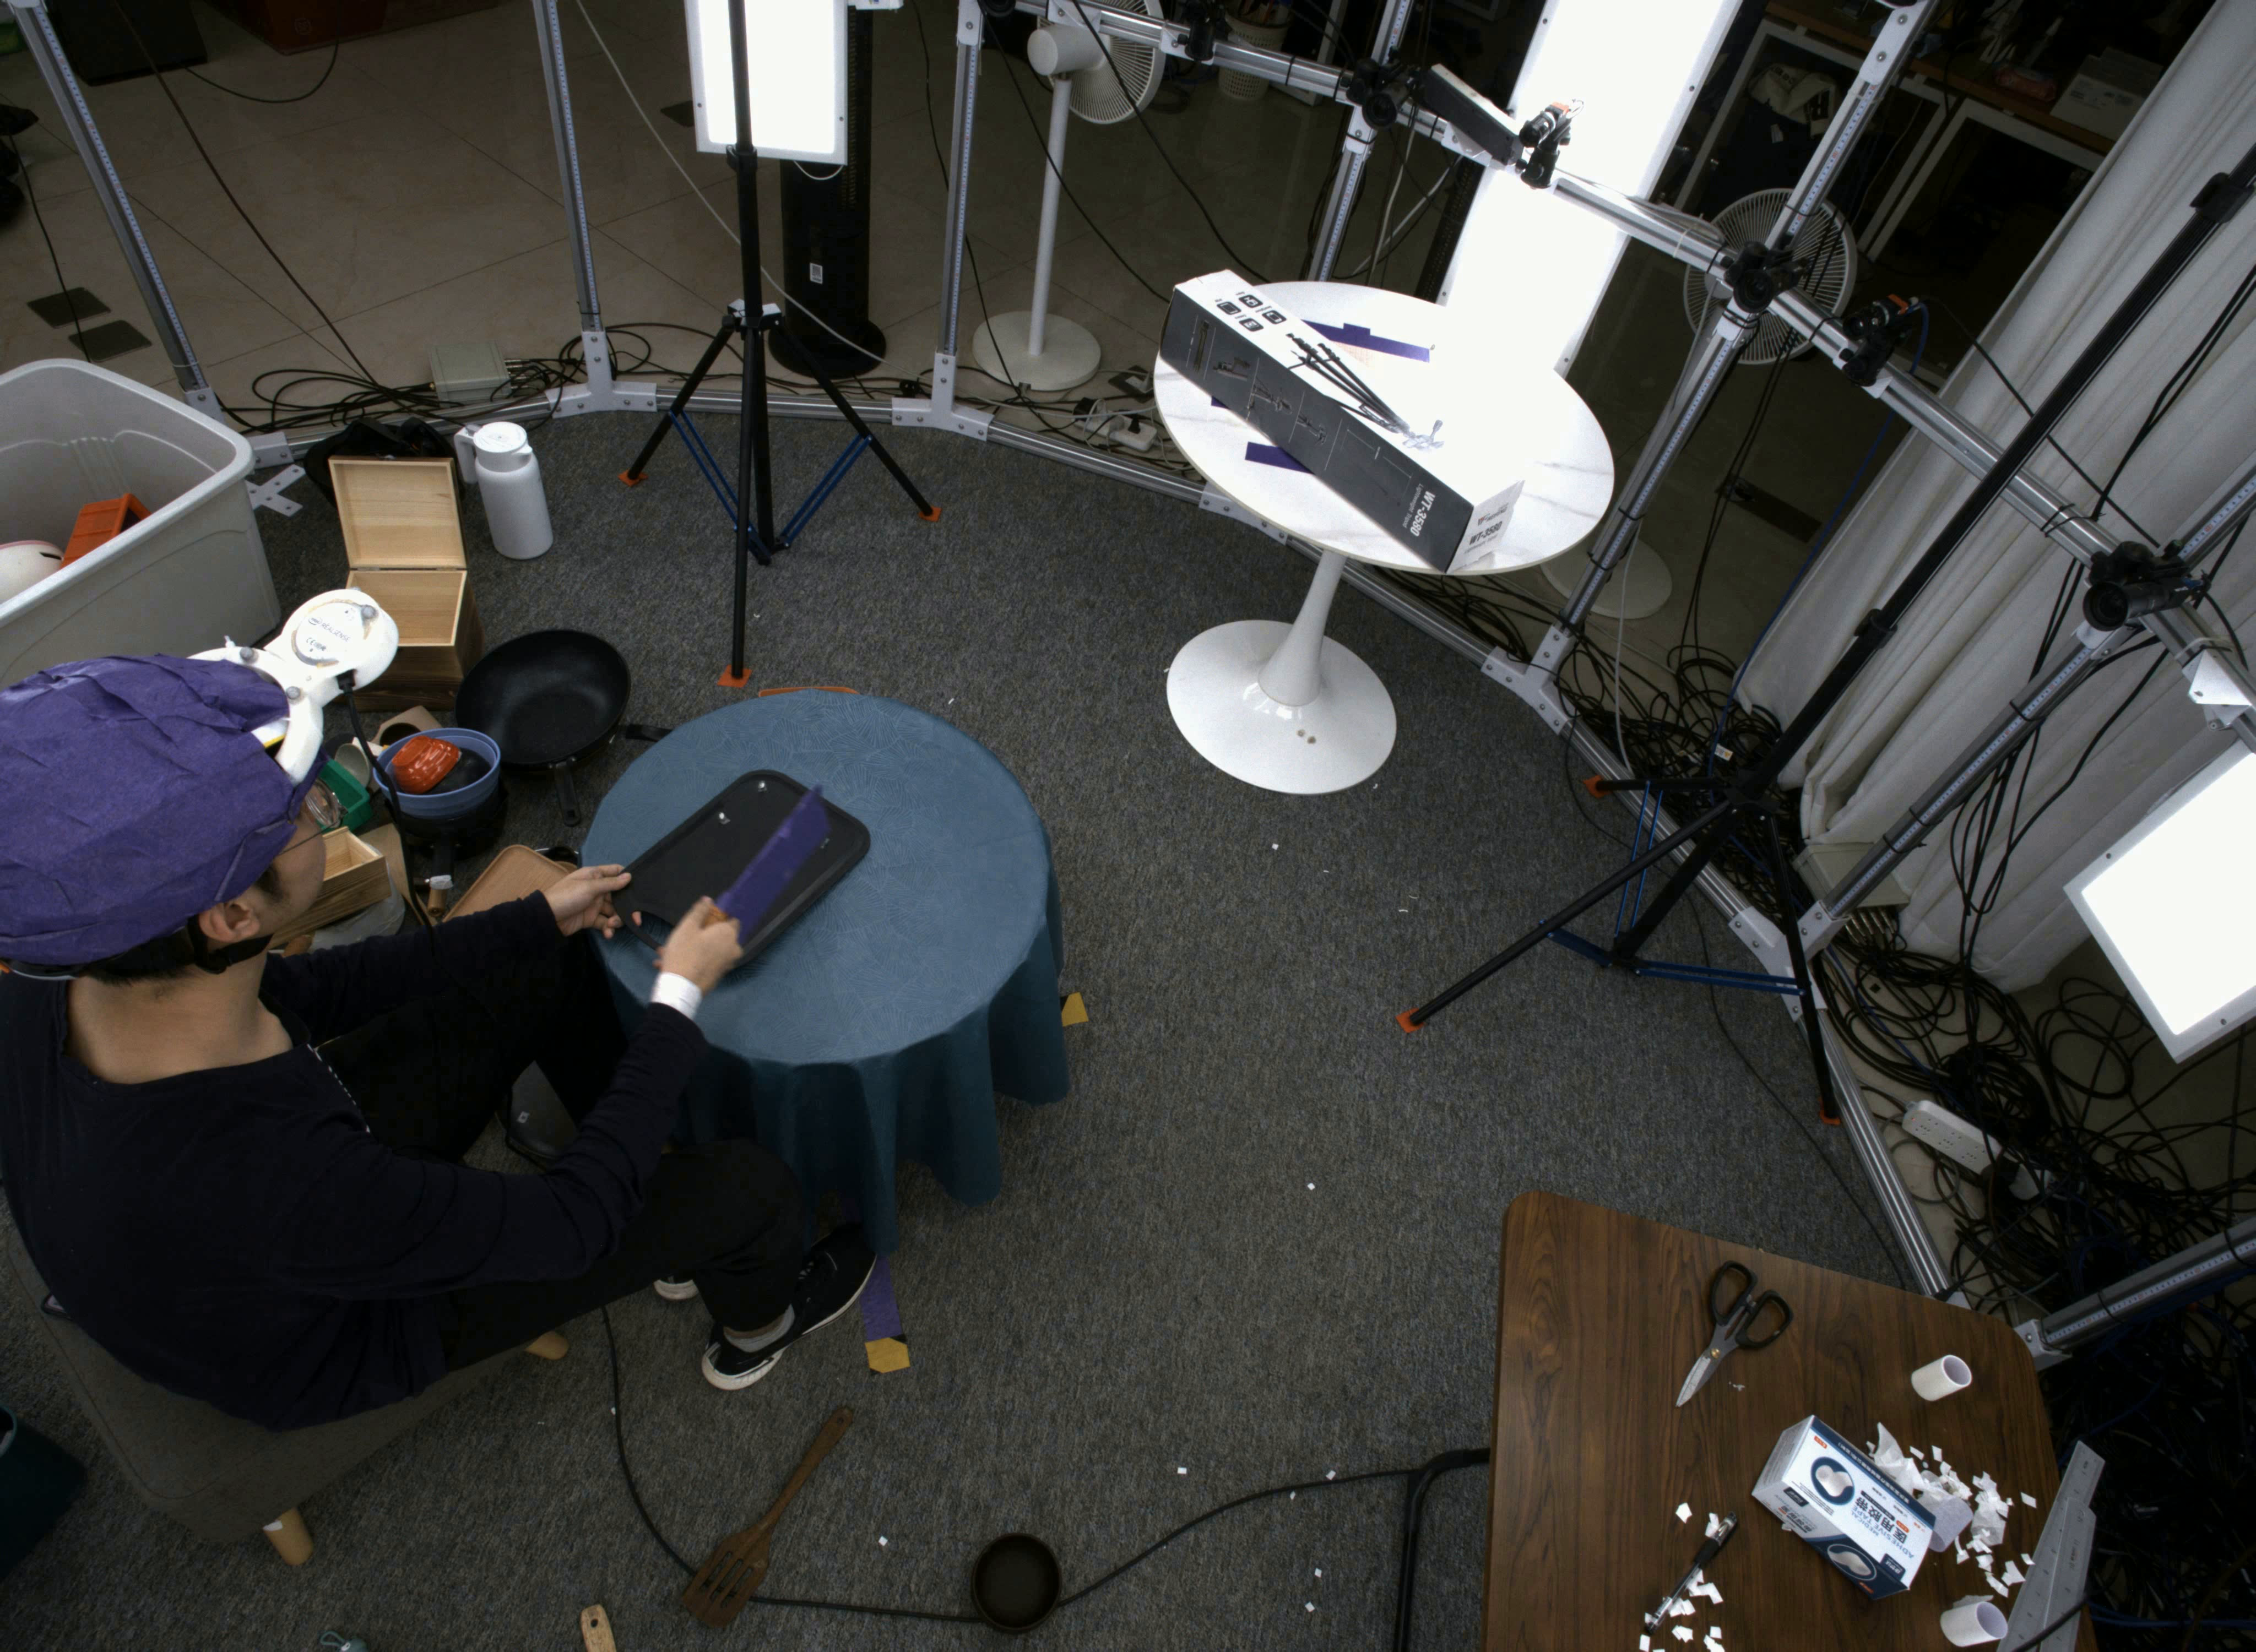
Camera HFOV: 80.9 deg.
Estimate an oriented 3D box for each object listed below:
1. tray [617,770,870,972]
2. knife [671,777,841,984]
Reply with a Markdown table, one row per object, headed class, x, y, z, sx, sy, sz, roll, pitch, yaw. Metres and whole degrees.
| class | x | y | z | sx | sy | sz | roll | pitch | yaw |
| --- | --- | --- | --- | --- | --- | --- | --- | --- | --- |
| tray | -0.493 | 0.052 | 1.657 | 0.207 | 0.010 | 0.324 | 32 | 48 | 10 |
| knife | -0.428 | 0.079 | 1.534 | 0.031 | 0.107 | 0.313 | 18 | 50 | 17 |
